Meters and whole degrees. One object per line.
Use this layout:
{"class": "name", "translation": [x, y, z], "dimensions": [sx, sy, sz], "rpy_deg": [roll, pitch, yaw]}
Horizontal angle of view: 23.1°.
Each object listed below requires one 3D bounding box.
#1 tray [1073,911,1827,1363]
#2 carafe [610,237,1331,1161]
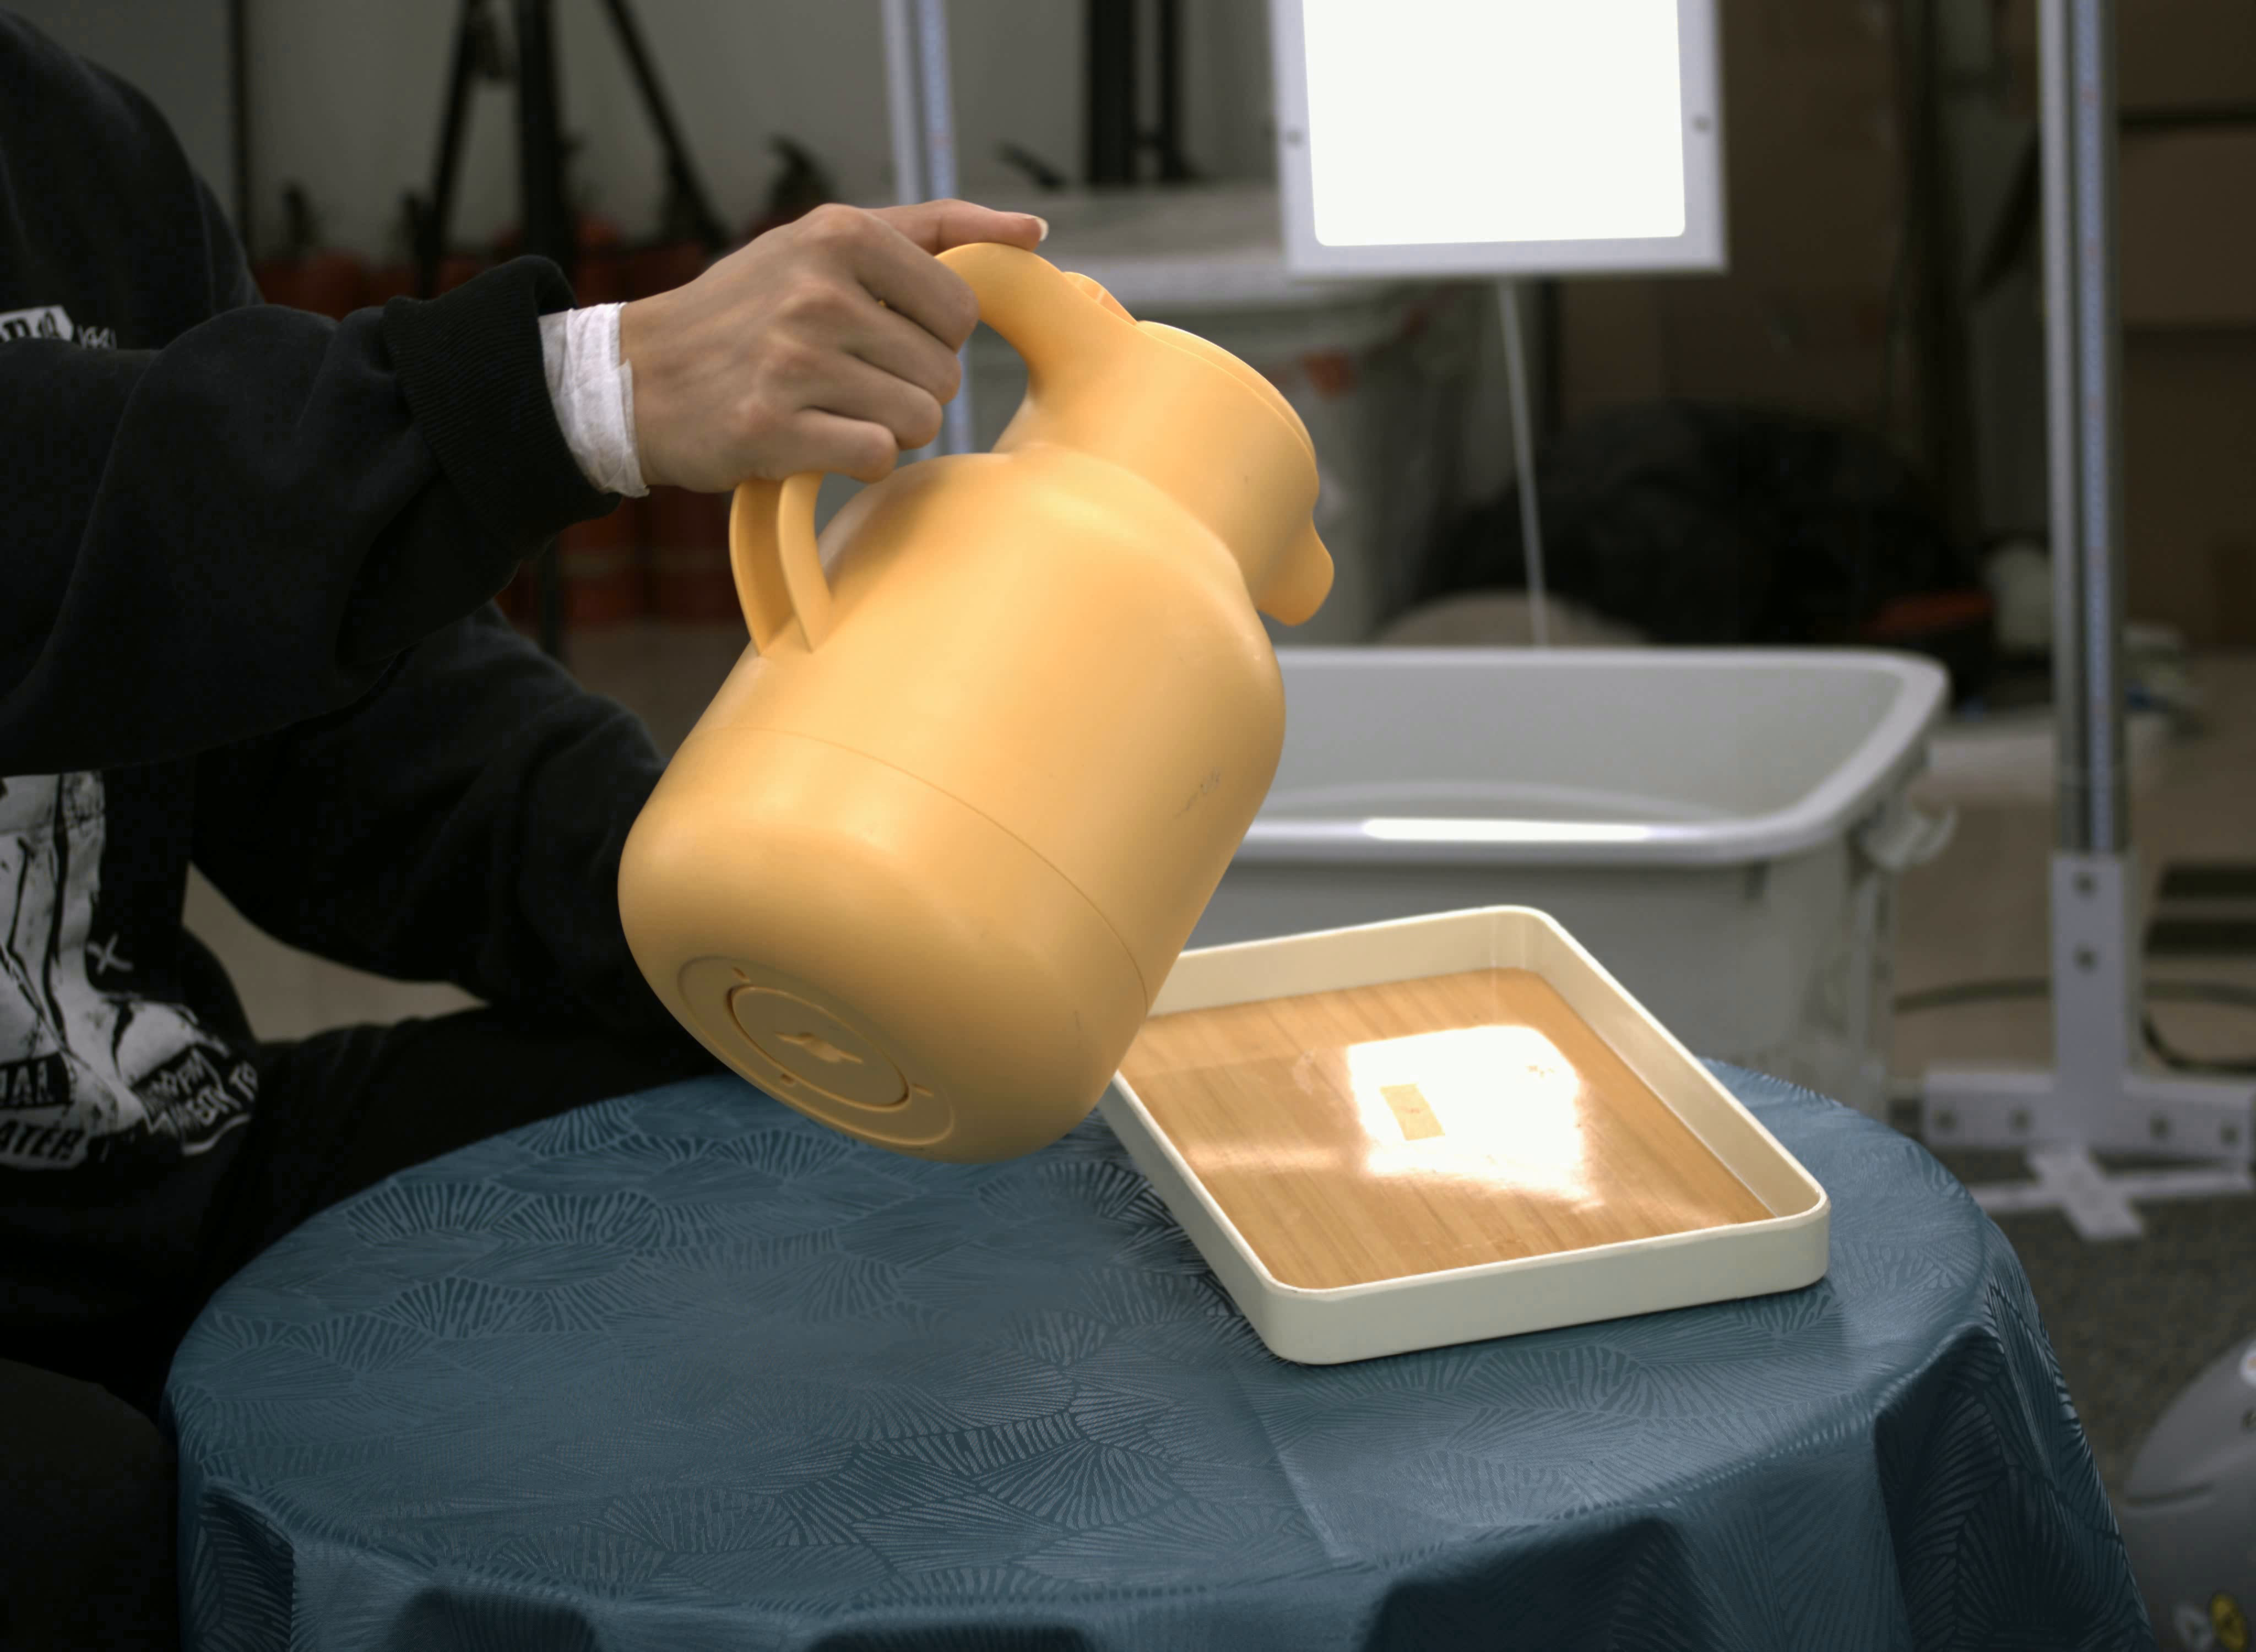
{"class": "tray", "translation": [0.097, 0.099, 1.853], "dimensions": [0.189, 0.027, 0.303], "rpy_deg": [-8, 20, -13]}
{"class": "carafe", "translation": [-0.050, -0.048, 1.679], "dimensions": [0.167, 0.200, 0.257], "rpy_deg": [-7, 46, 52]}
